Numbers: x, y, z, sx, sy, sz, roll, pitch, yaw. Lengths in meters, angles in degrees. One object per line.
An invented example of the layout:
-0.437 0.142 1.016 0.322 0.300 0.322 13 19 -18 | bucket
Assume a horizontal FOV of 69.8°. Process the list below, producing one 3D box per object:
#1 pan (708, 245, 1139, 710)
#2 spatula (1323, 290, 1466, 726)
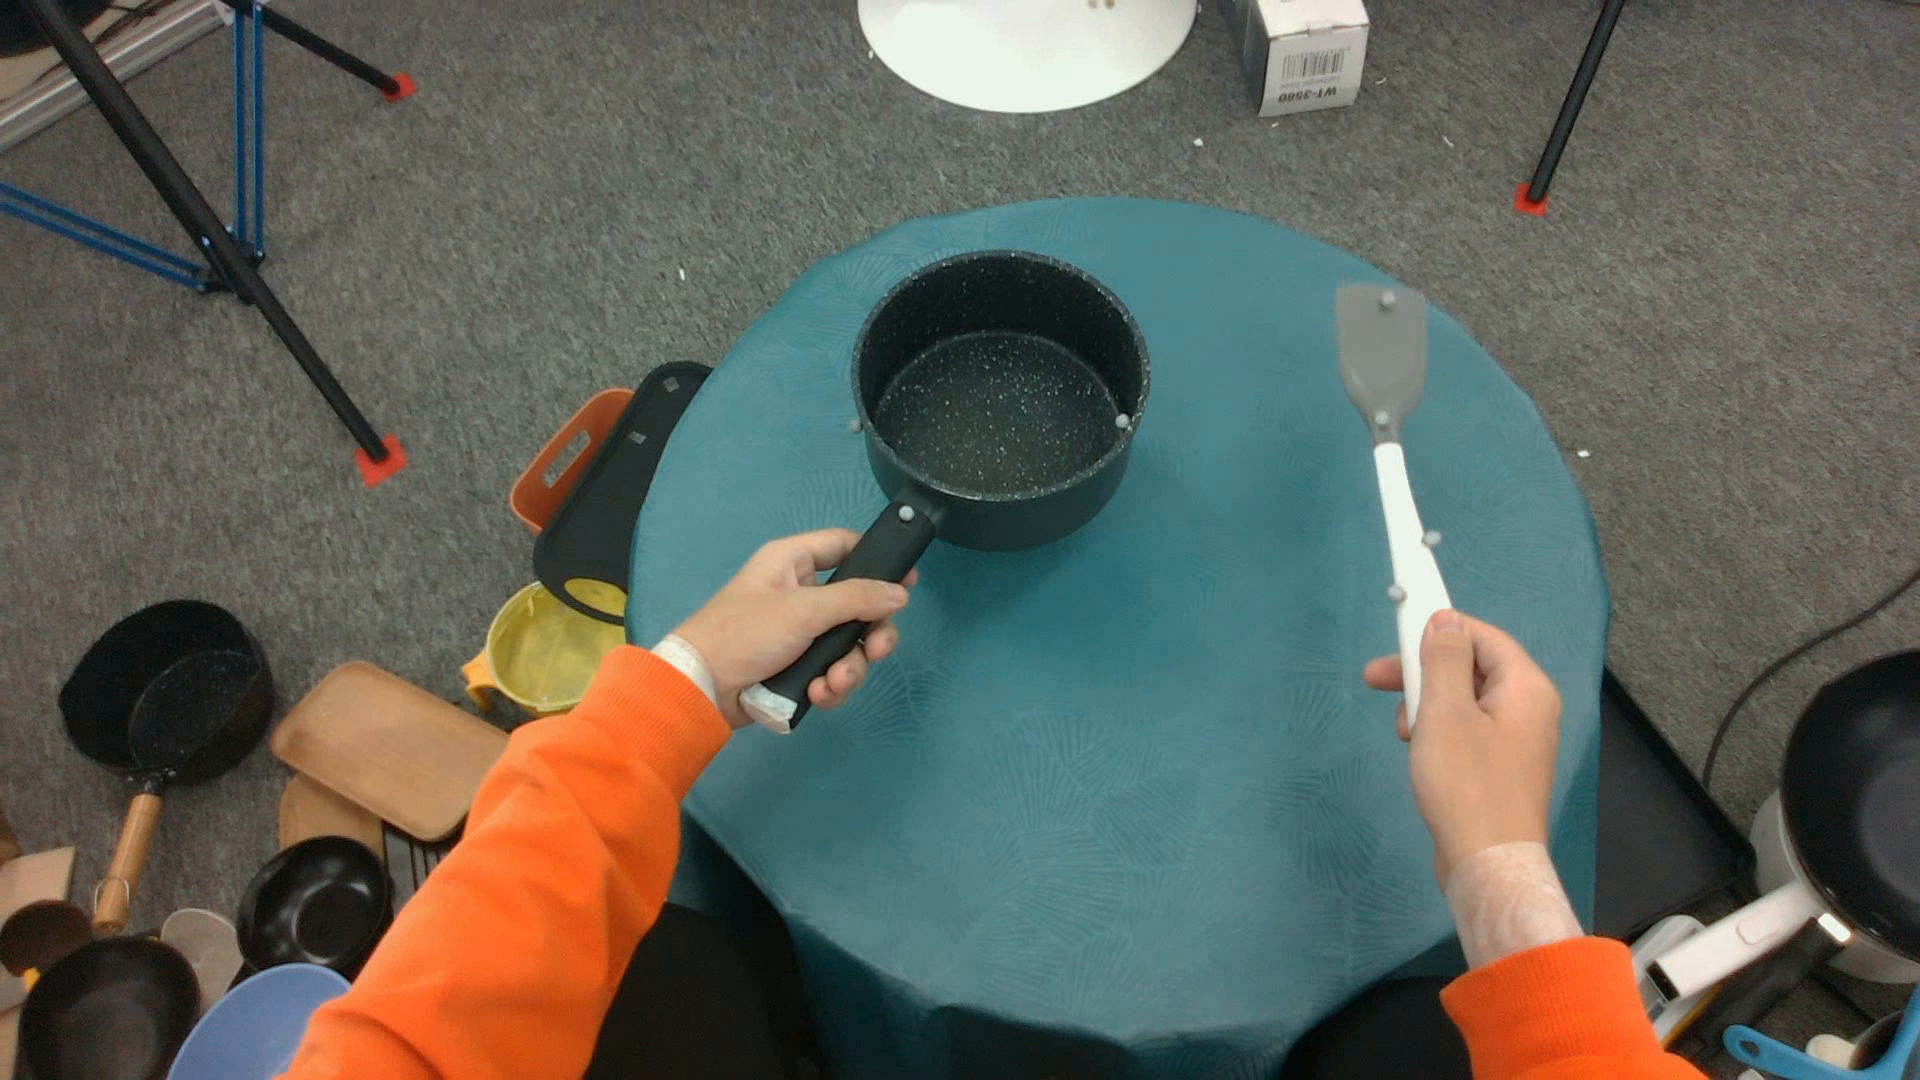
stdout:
-0.025 -0.026 0.782 0.172 0.086 0.330 28 64 16 | pan
0.236 -0.030 0.750 0.058 0.032 0.289 3 52 3 | spatula
